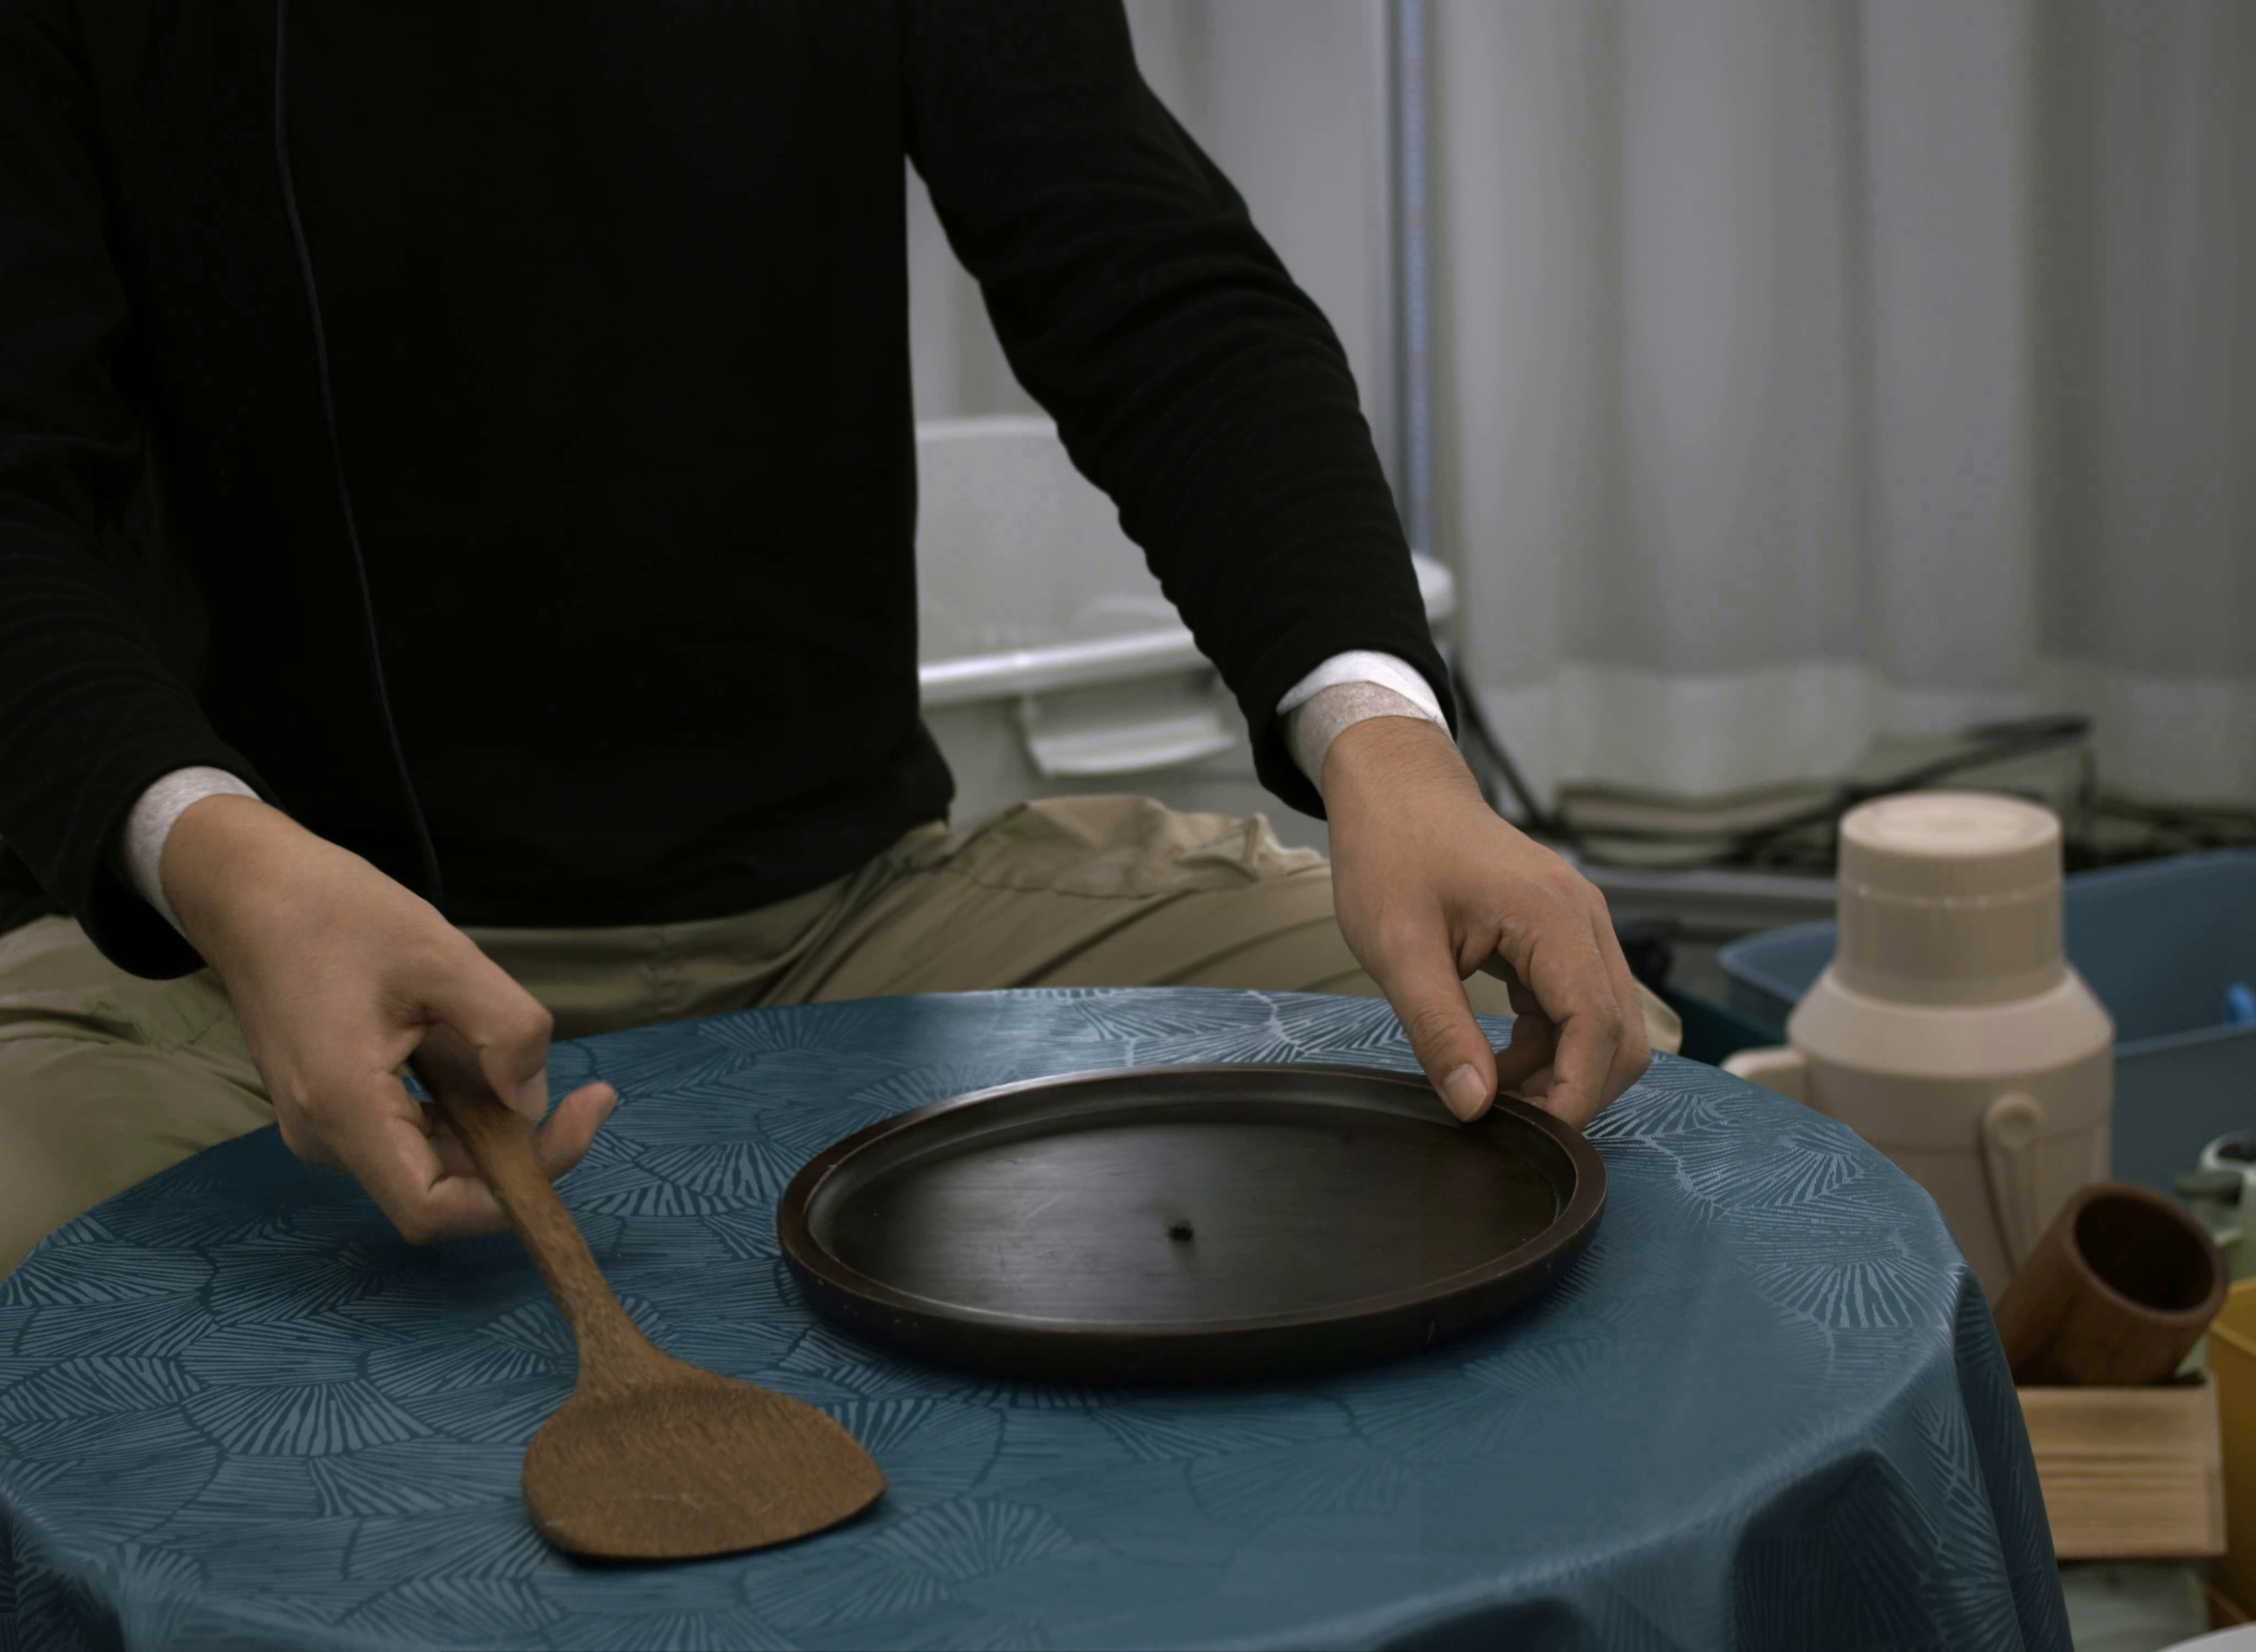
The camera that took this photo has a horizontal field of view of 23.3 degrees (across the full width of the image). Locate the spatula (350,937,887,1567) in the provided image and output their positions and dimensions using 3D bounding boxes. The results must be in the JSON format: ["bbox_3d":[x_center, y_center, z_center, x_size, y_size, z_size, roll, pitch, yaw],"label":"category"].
[{"bbox_3d":[-0.171,0.115,1.603,0.095,0.015,0.391,-8,27,-20],"label":"spatula"}]

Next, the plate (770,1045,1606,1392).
[{"bbox_3d":[0.019,0.119,1.650,0.254,0.029,0.256,-4,15,1],"label":"plate"}]
